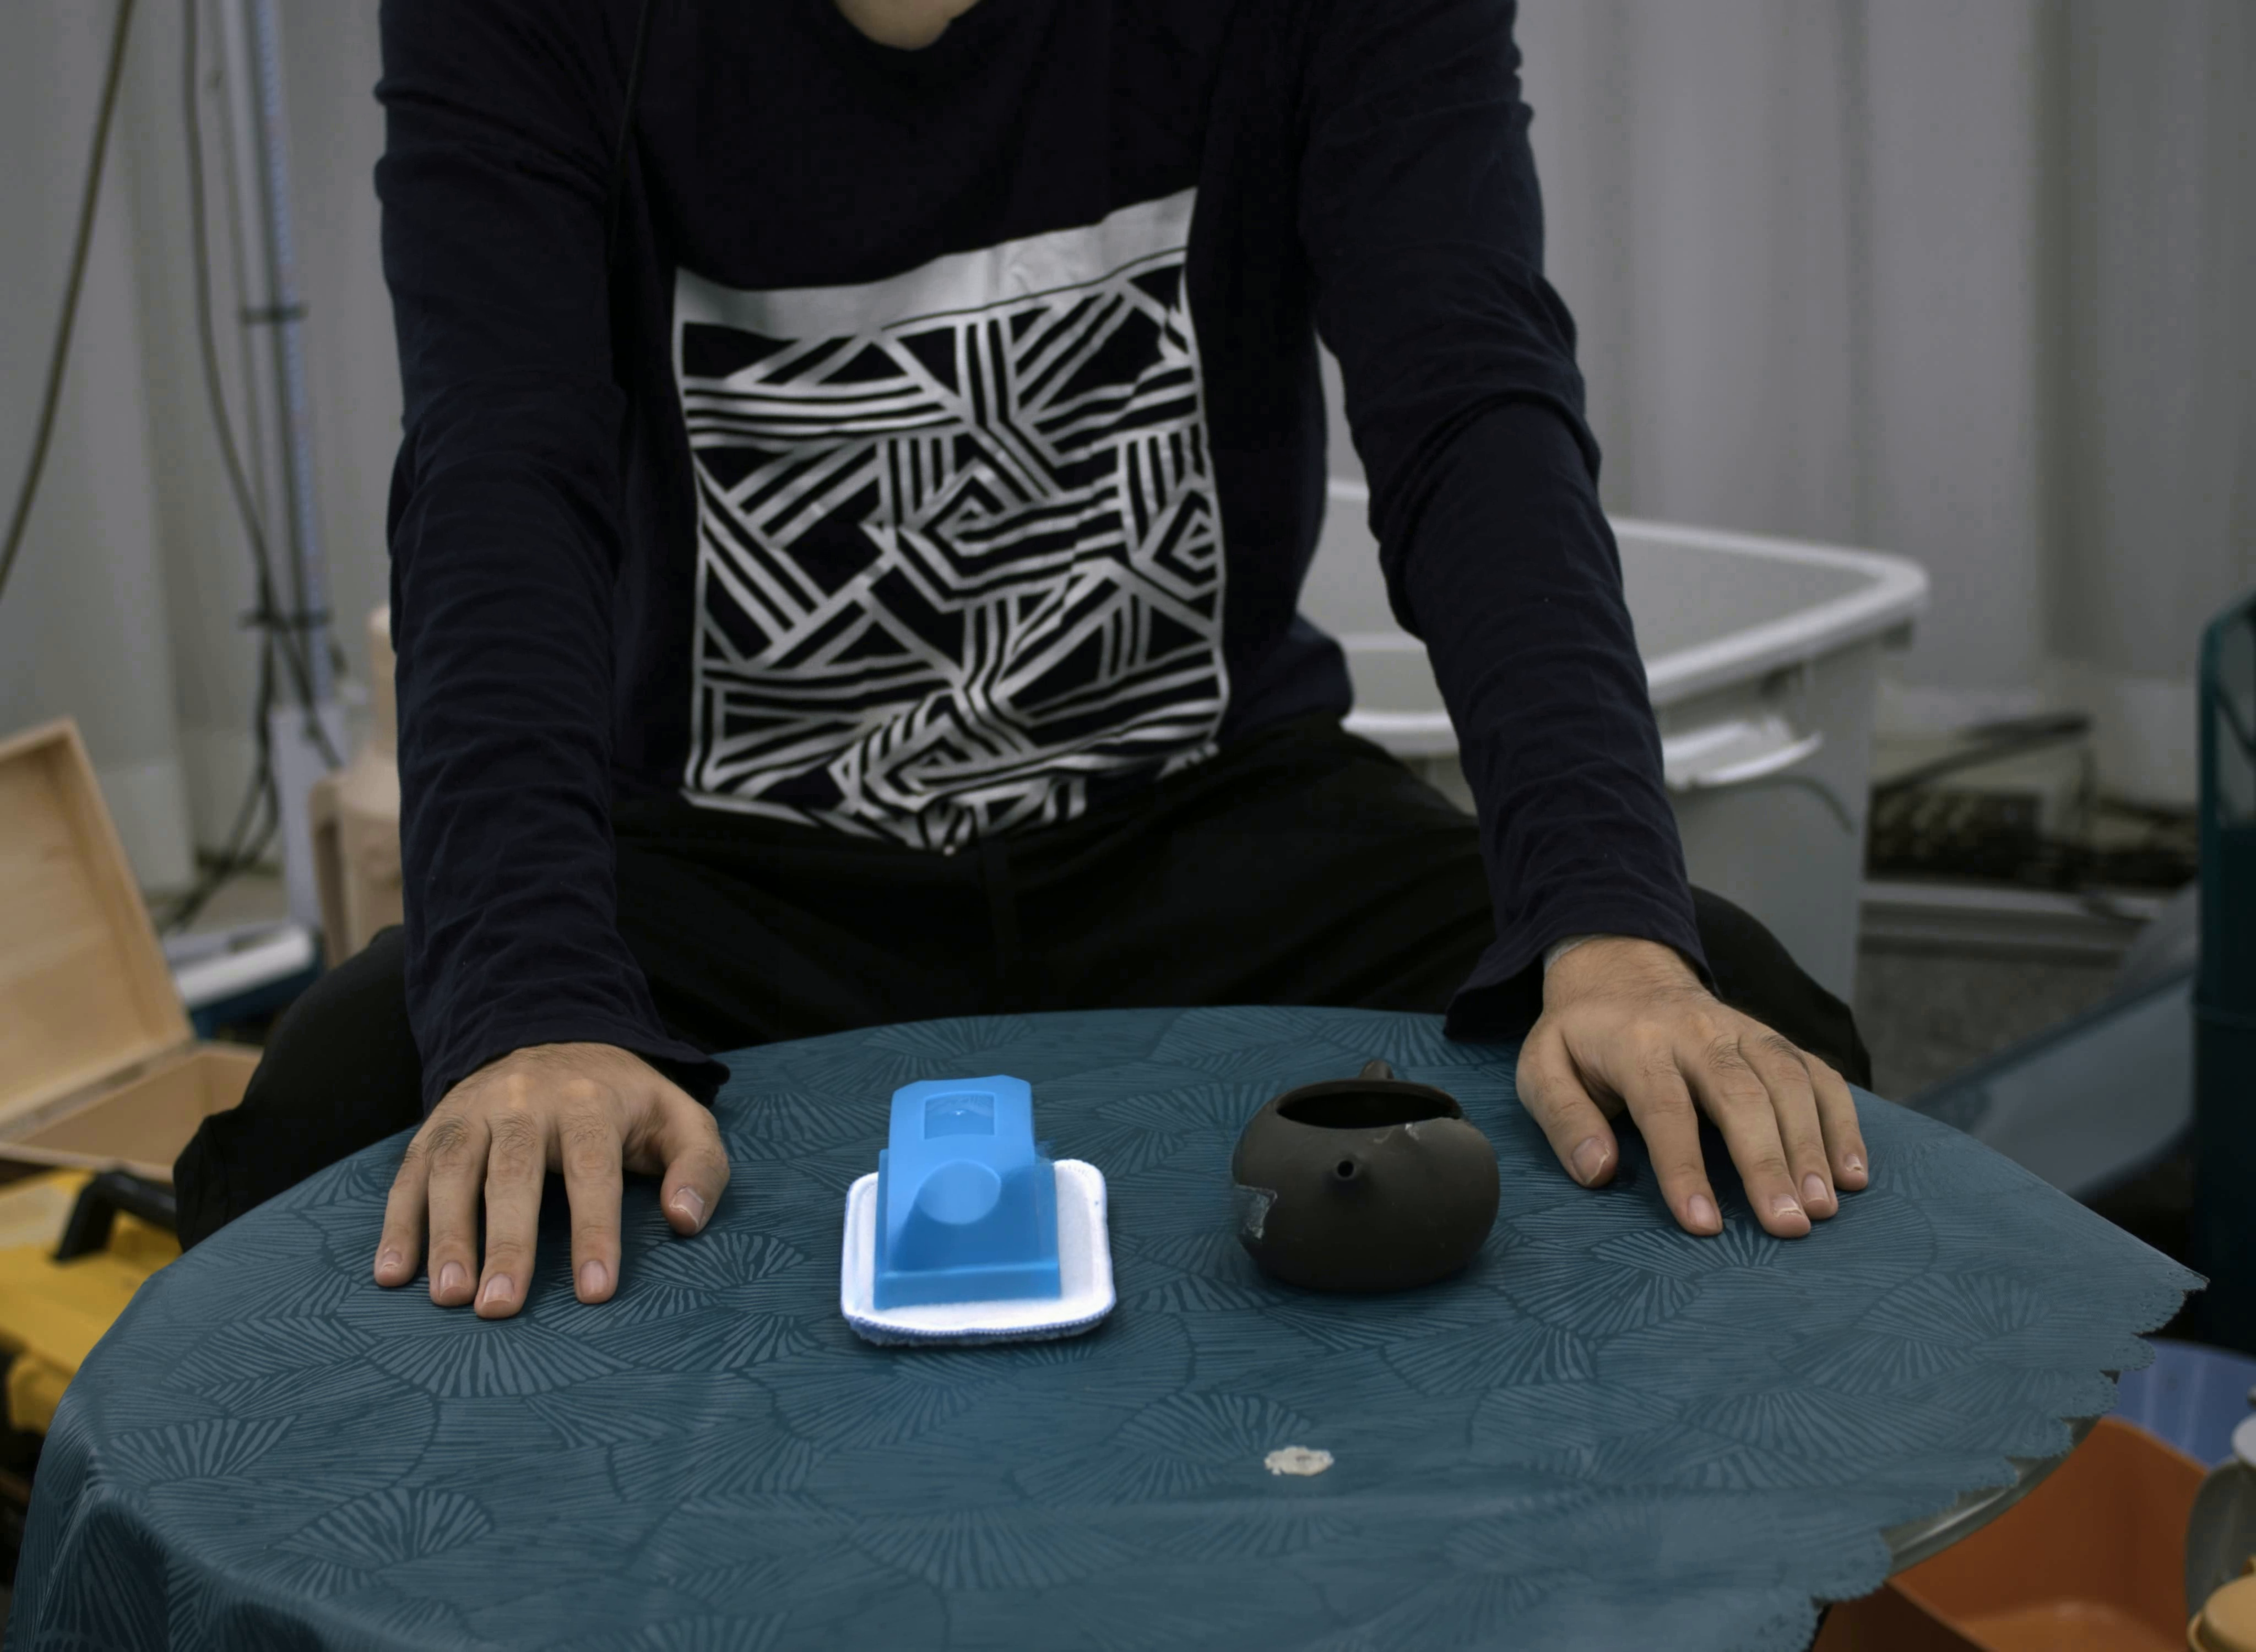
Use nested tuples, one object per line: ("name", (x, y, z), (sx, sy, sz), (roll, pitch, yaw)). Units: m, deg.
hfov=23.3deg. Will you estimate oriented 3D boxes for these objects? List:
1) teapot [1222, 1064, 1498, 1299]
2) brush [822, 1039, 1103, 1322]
("teapot", (0.072, 0.104, 1.645), (0.083, 0.053, 0.115), (4, 18, 11))
("brush", (-0.049, 0.104, 1.649), (0.083, 0.055, 0.145), (1, 17, 0))
